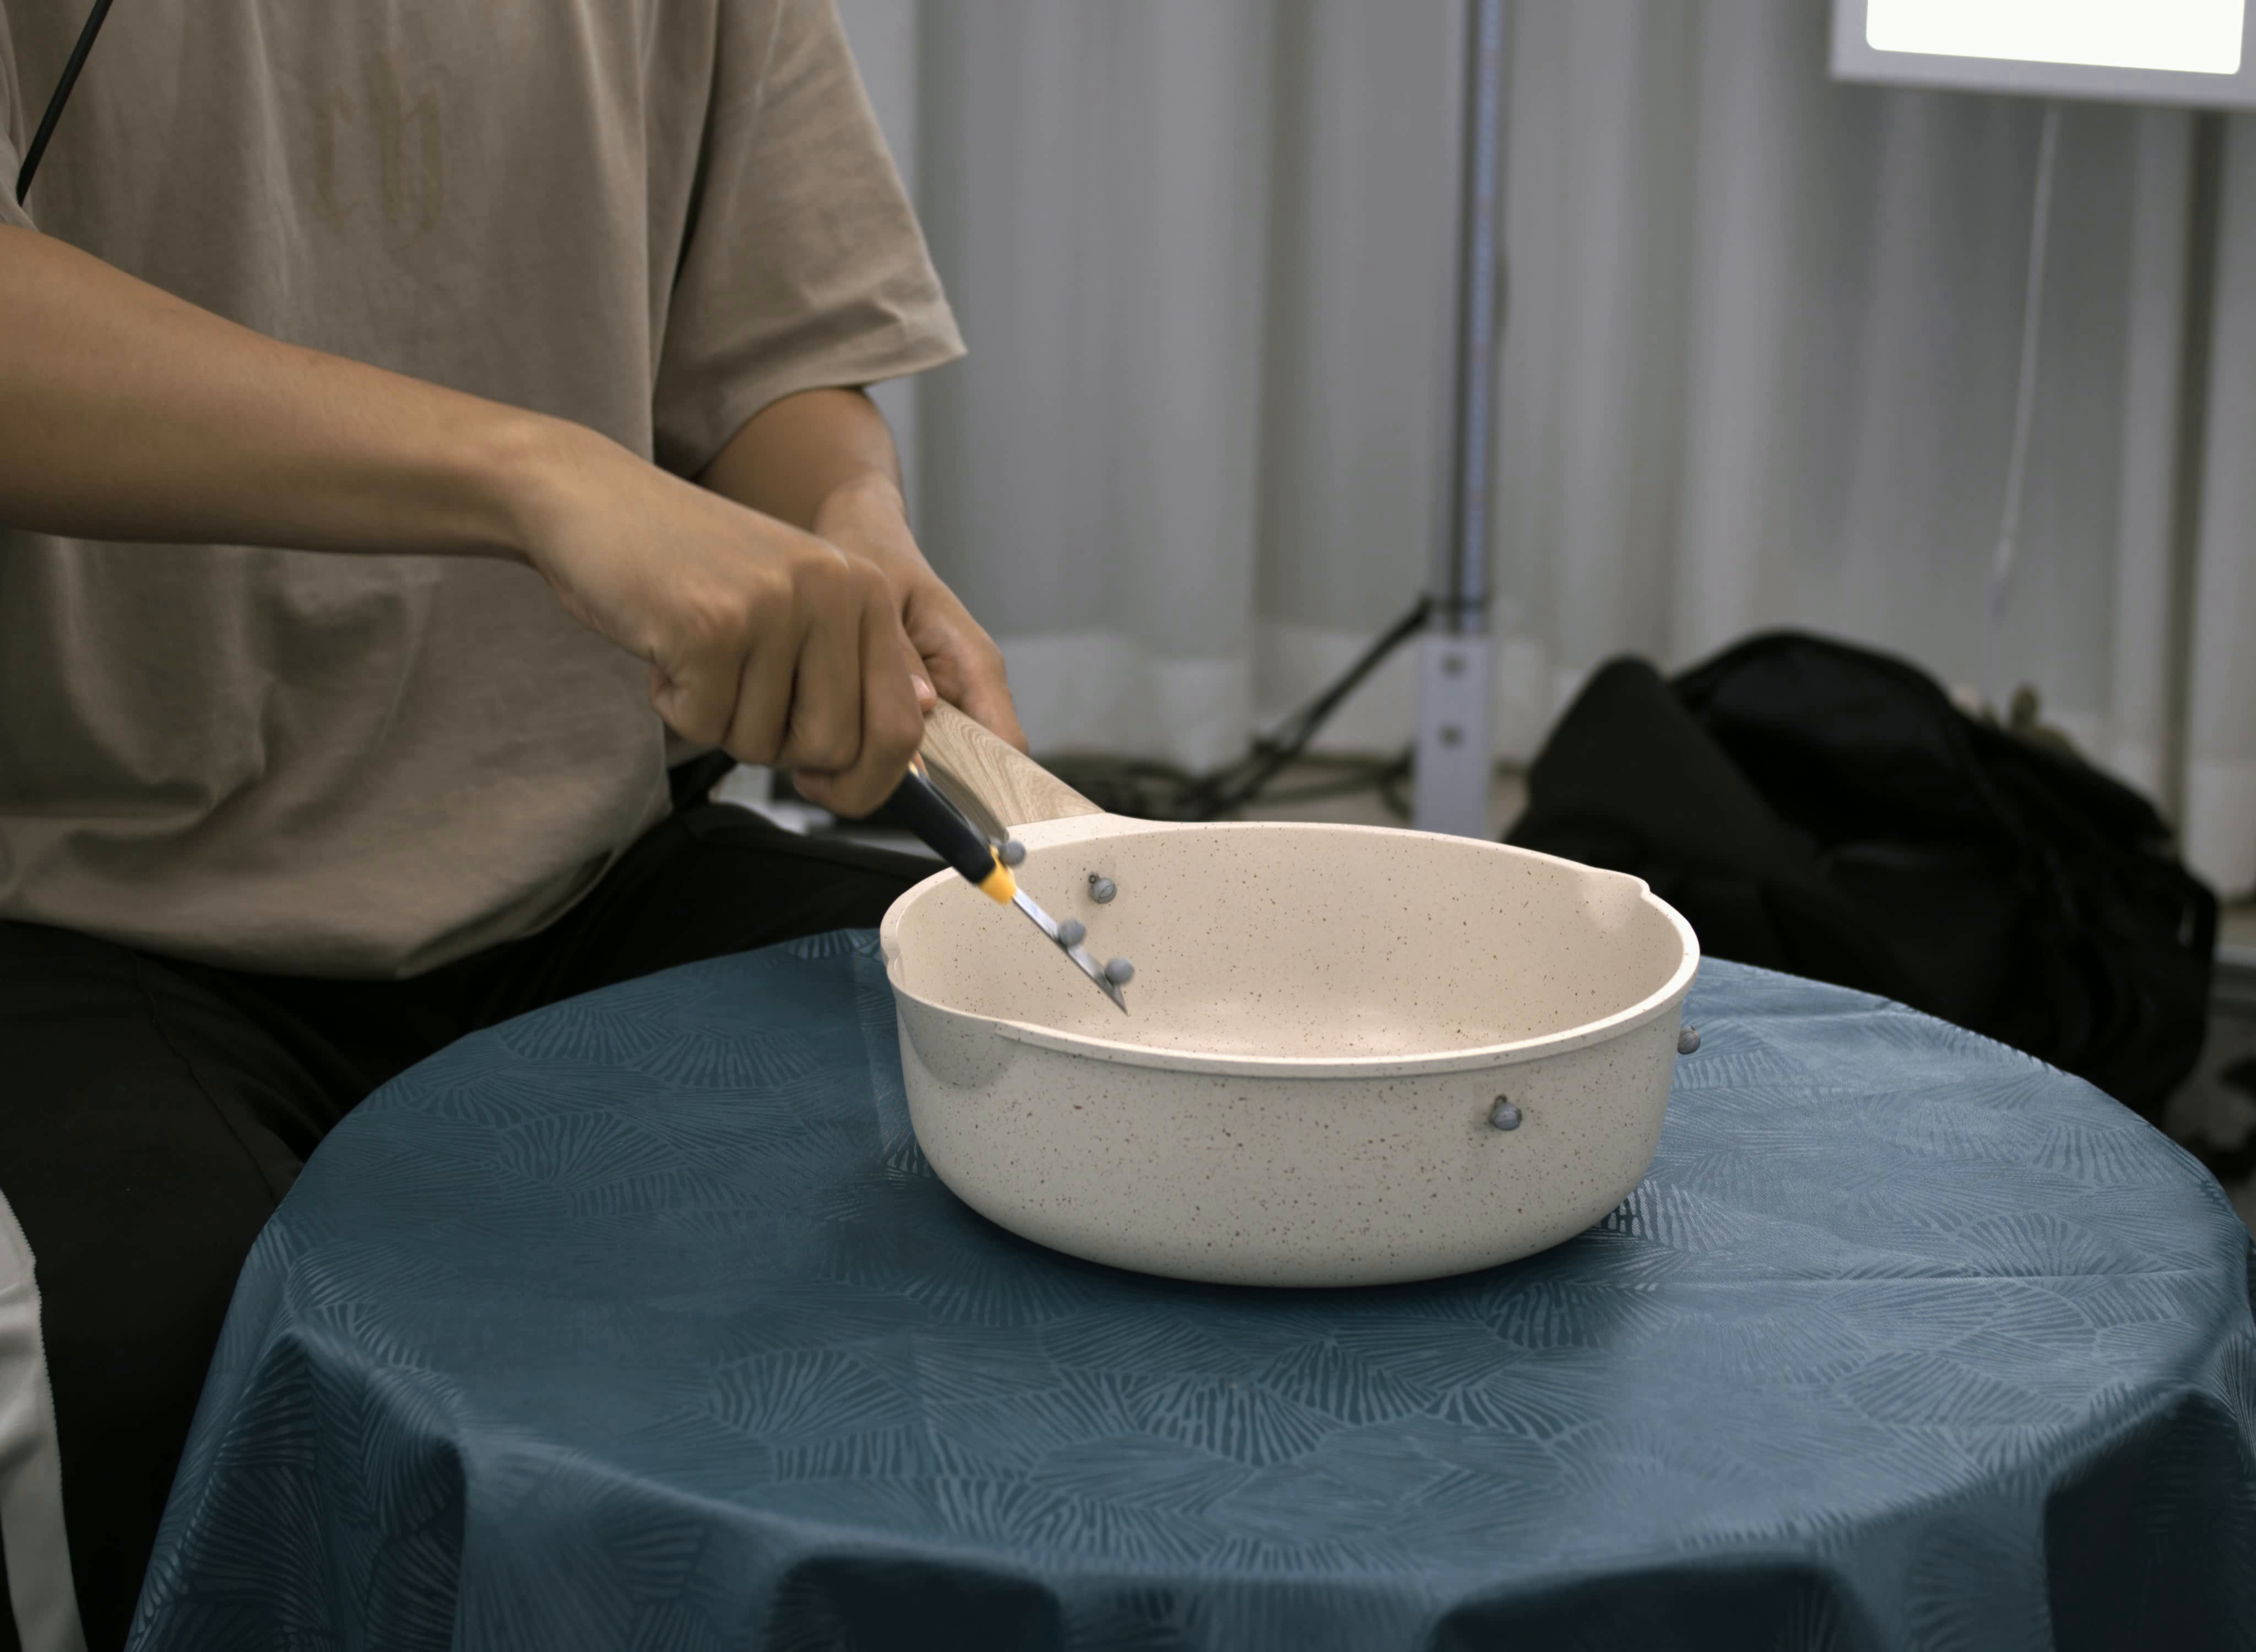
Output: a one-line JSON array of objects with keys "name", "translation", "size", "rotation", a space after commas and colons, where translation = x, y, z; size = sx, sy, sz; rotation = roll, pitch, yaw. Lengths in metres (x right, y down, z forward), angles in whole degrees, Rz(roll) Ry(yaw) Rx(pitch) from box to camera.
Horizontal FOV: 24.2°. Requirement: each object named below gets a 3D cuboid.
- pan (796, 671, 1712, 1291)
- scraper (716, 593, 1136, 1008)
[{"name": "pan", "translation": [0.007, 0.043, 1.698], "size": [0.264, 0.103, 0.429], "rotation": [-11, 20, -29]}, {"name": "scraper", "translation": [-0.059, -0.008, 1.558], "size": [0.015, 0.172, 0.038], "rotation": [-42, 17, 14]}]
